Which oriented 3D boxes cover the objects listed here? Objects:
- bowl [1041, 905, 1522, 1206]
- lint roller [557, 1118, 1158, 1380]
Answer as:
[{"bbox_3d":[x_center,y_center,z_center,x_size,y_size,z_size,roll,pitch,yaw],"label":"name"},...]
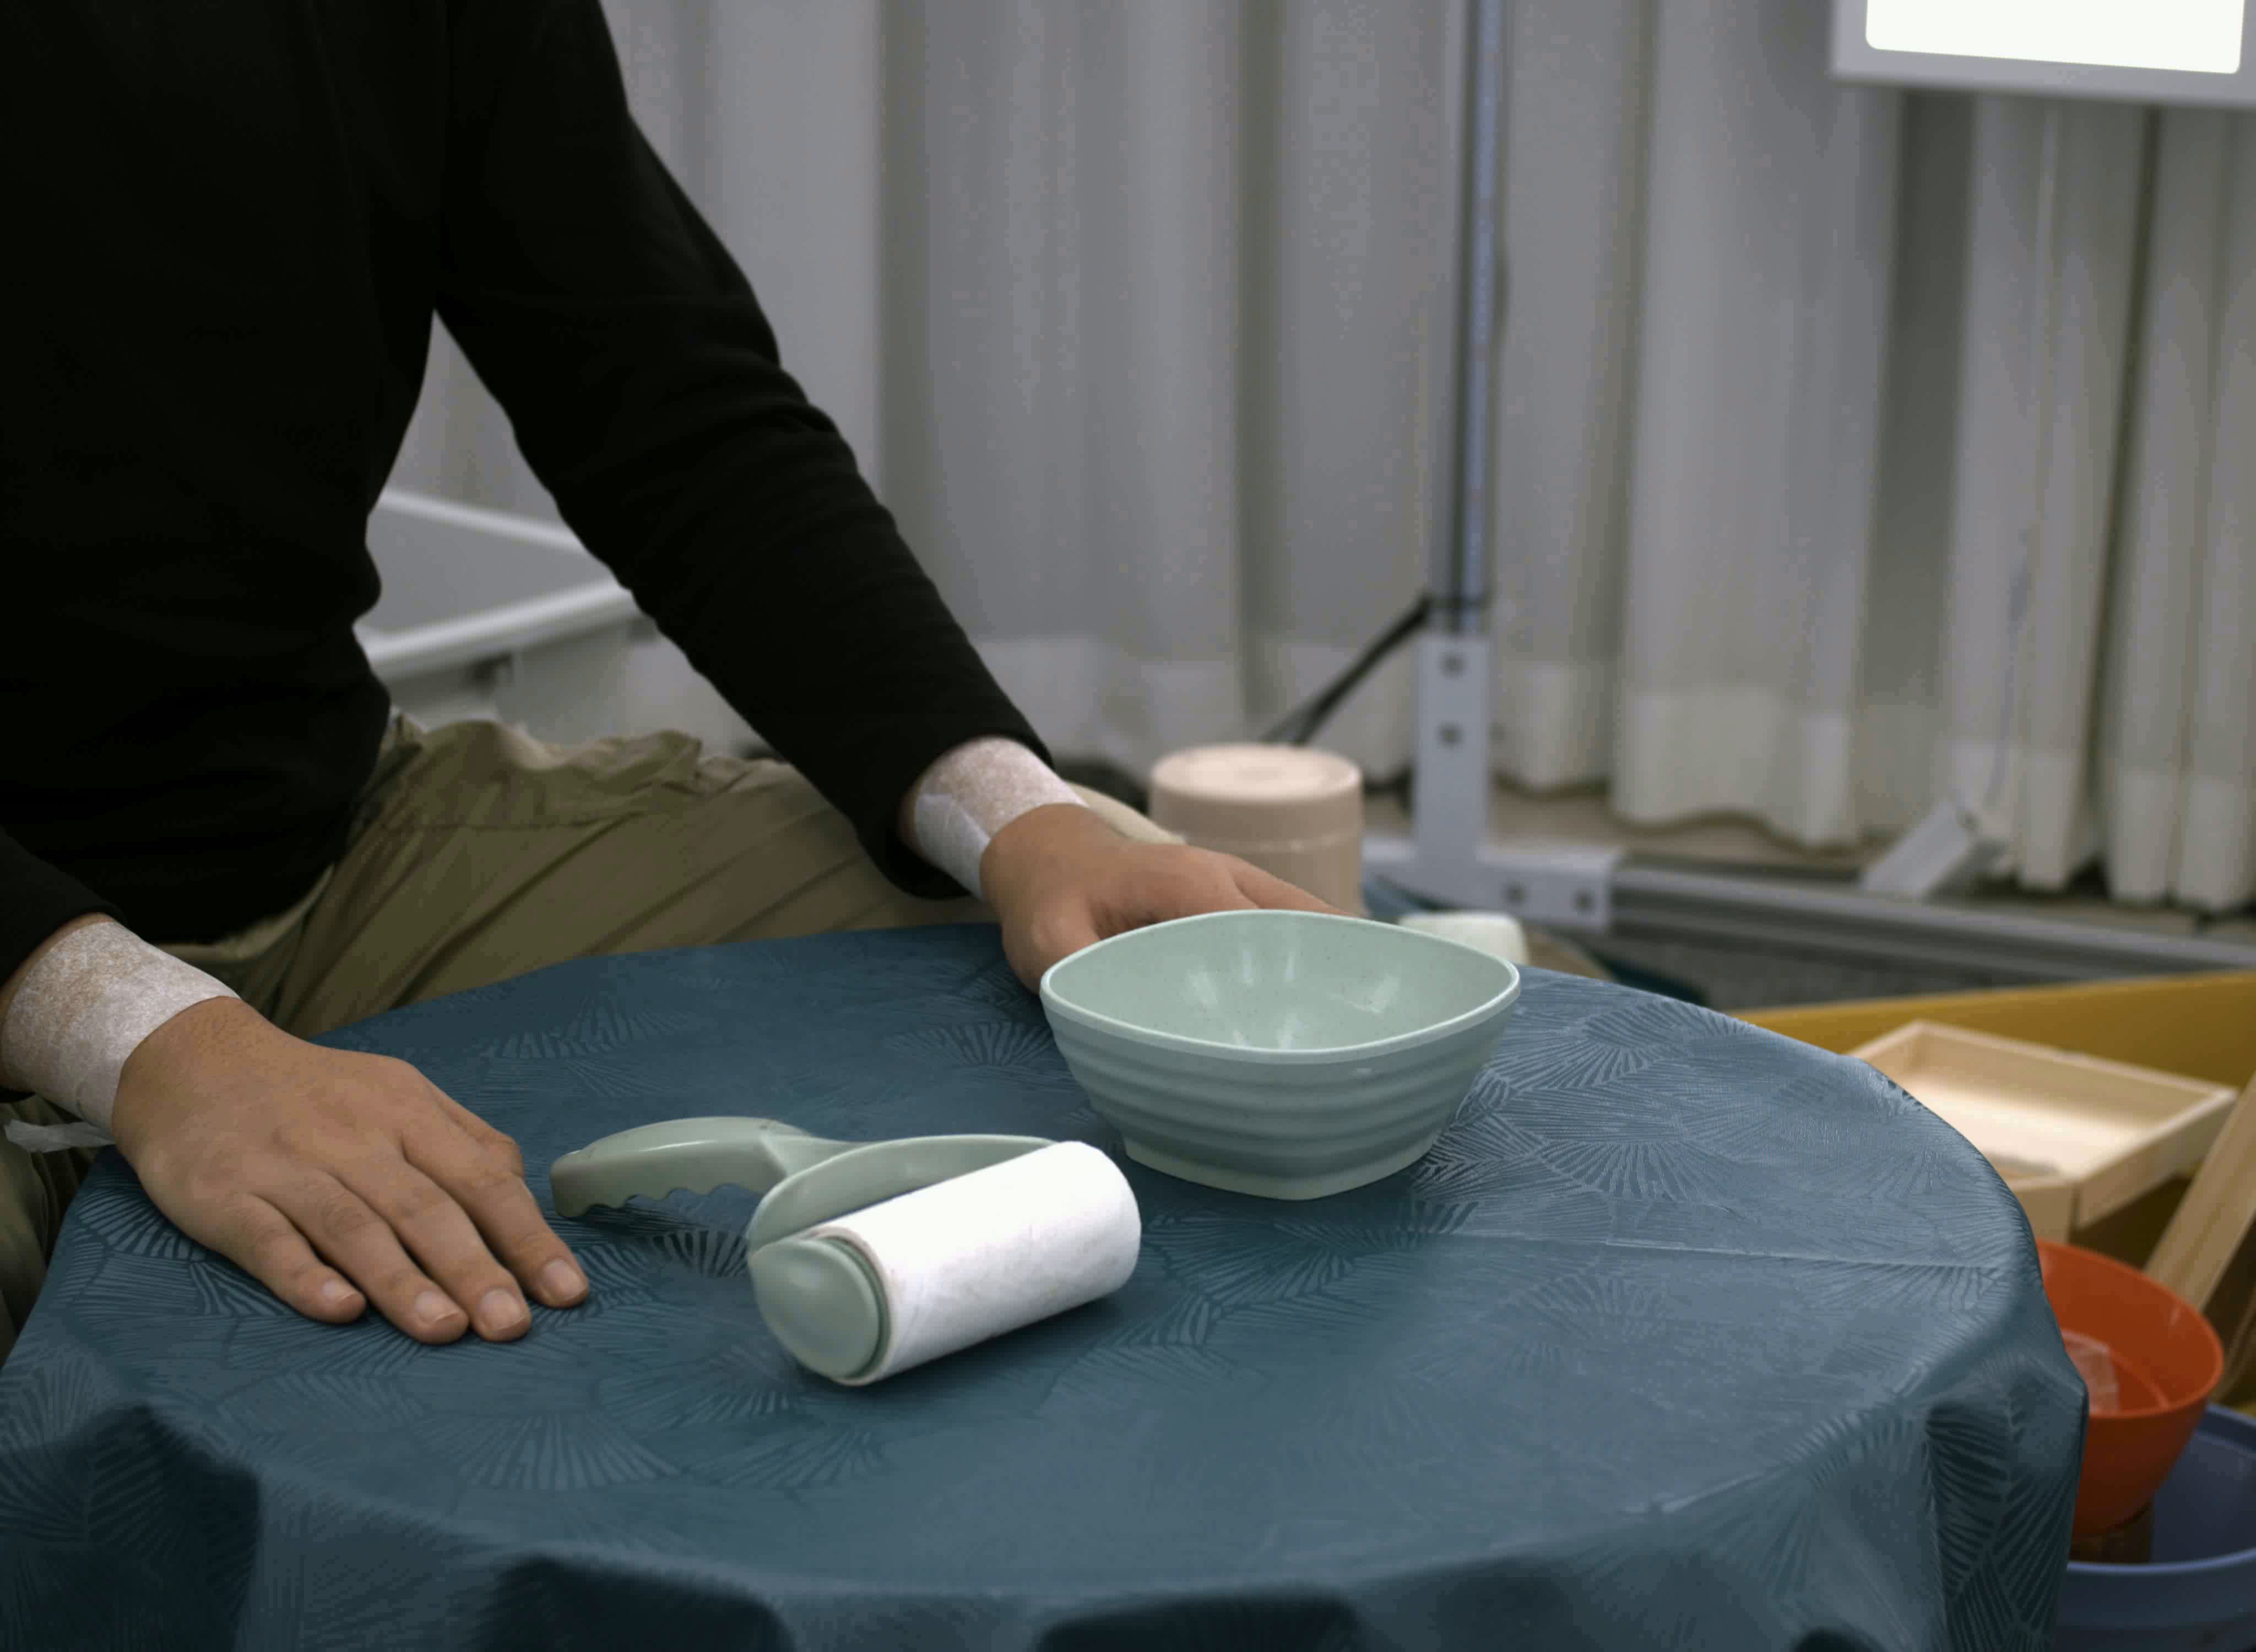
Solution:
[{"bbox_3d":[0.048,0.075,1.652,0.151,0.059,0.150,1,17,0],"label":"bowl"},{"bbox_3d":[-0.095,0.110,1.543,0.195,0.049,0.117,13,21,40],"label":"lint roller"}]
